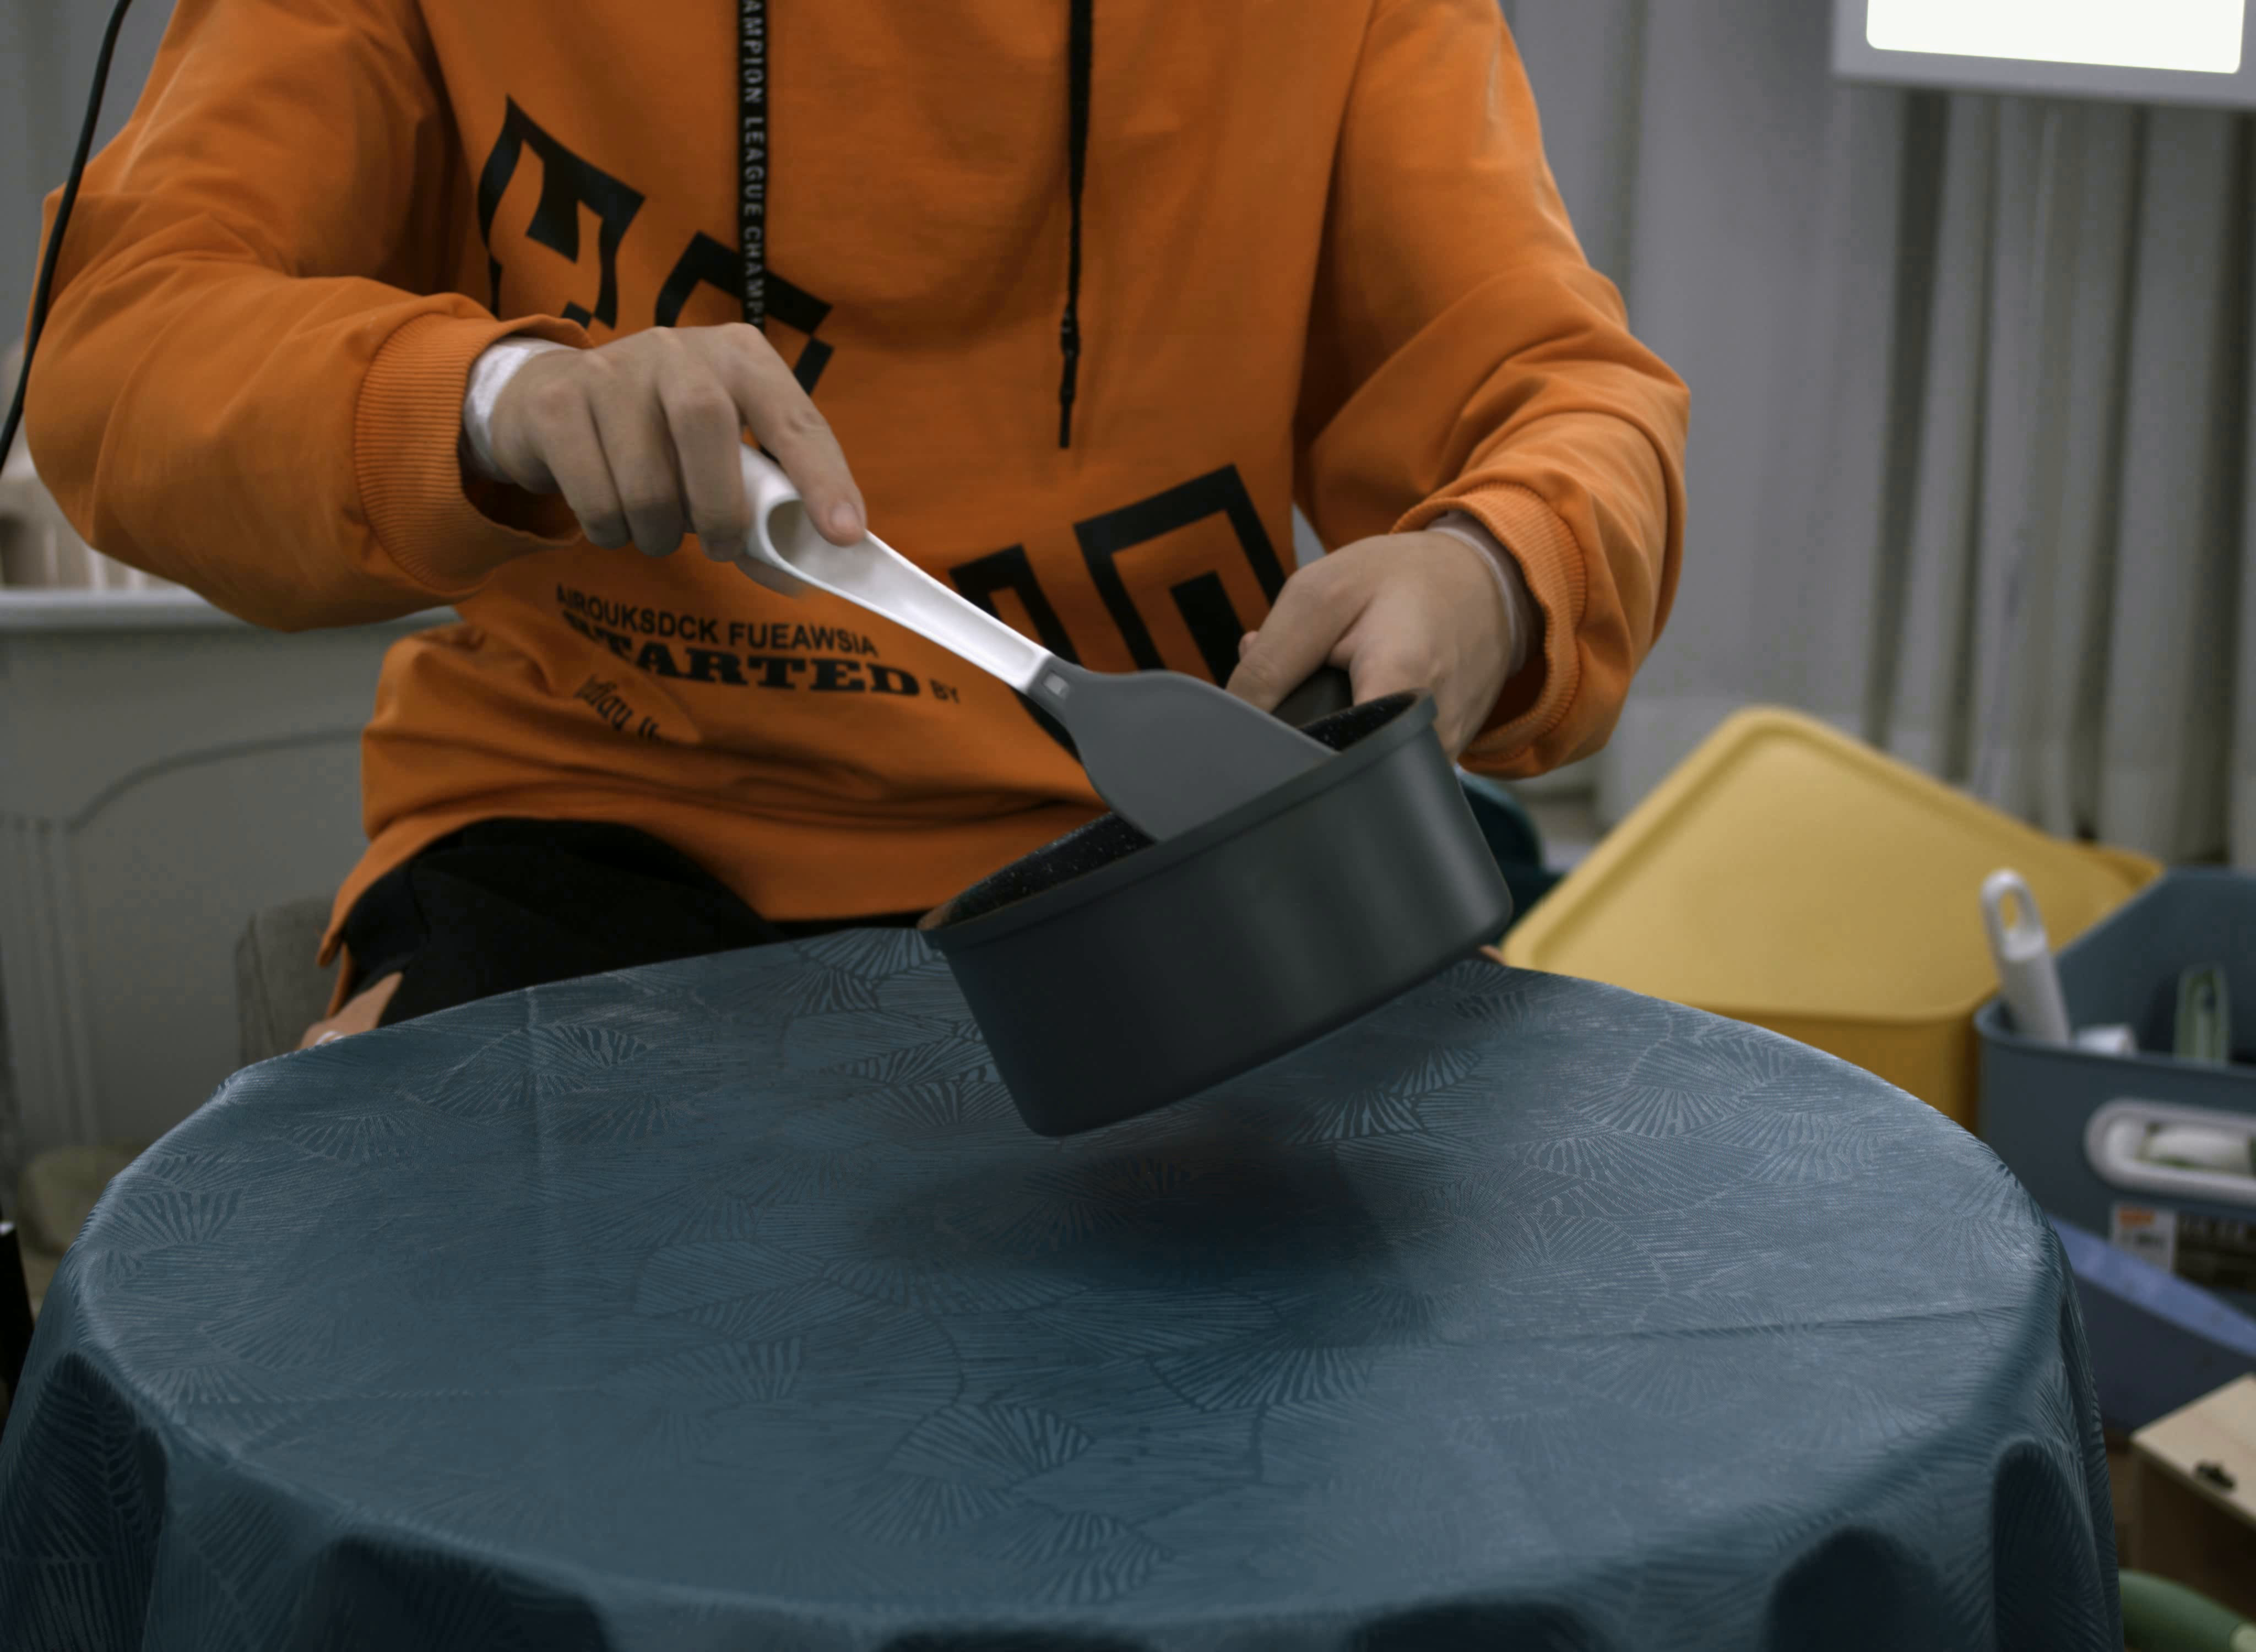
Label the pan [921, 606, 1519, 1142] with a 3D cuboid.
[{"bbox_3d":[0.051,0.007,1.662,0.171,0.087,0.328,-22,7,21],"label":"pan"}]

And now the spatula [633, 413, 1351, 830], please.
[{"bbox_3d":[-0.046,-0.061,1.643,0.284,0.059,0.032,29,-5,32],"label":"spatula"}]
